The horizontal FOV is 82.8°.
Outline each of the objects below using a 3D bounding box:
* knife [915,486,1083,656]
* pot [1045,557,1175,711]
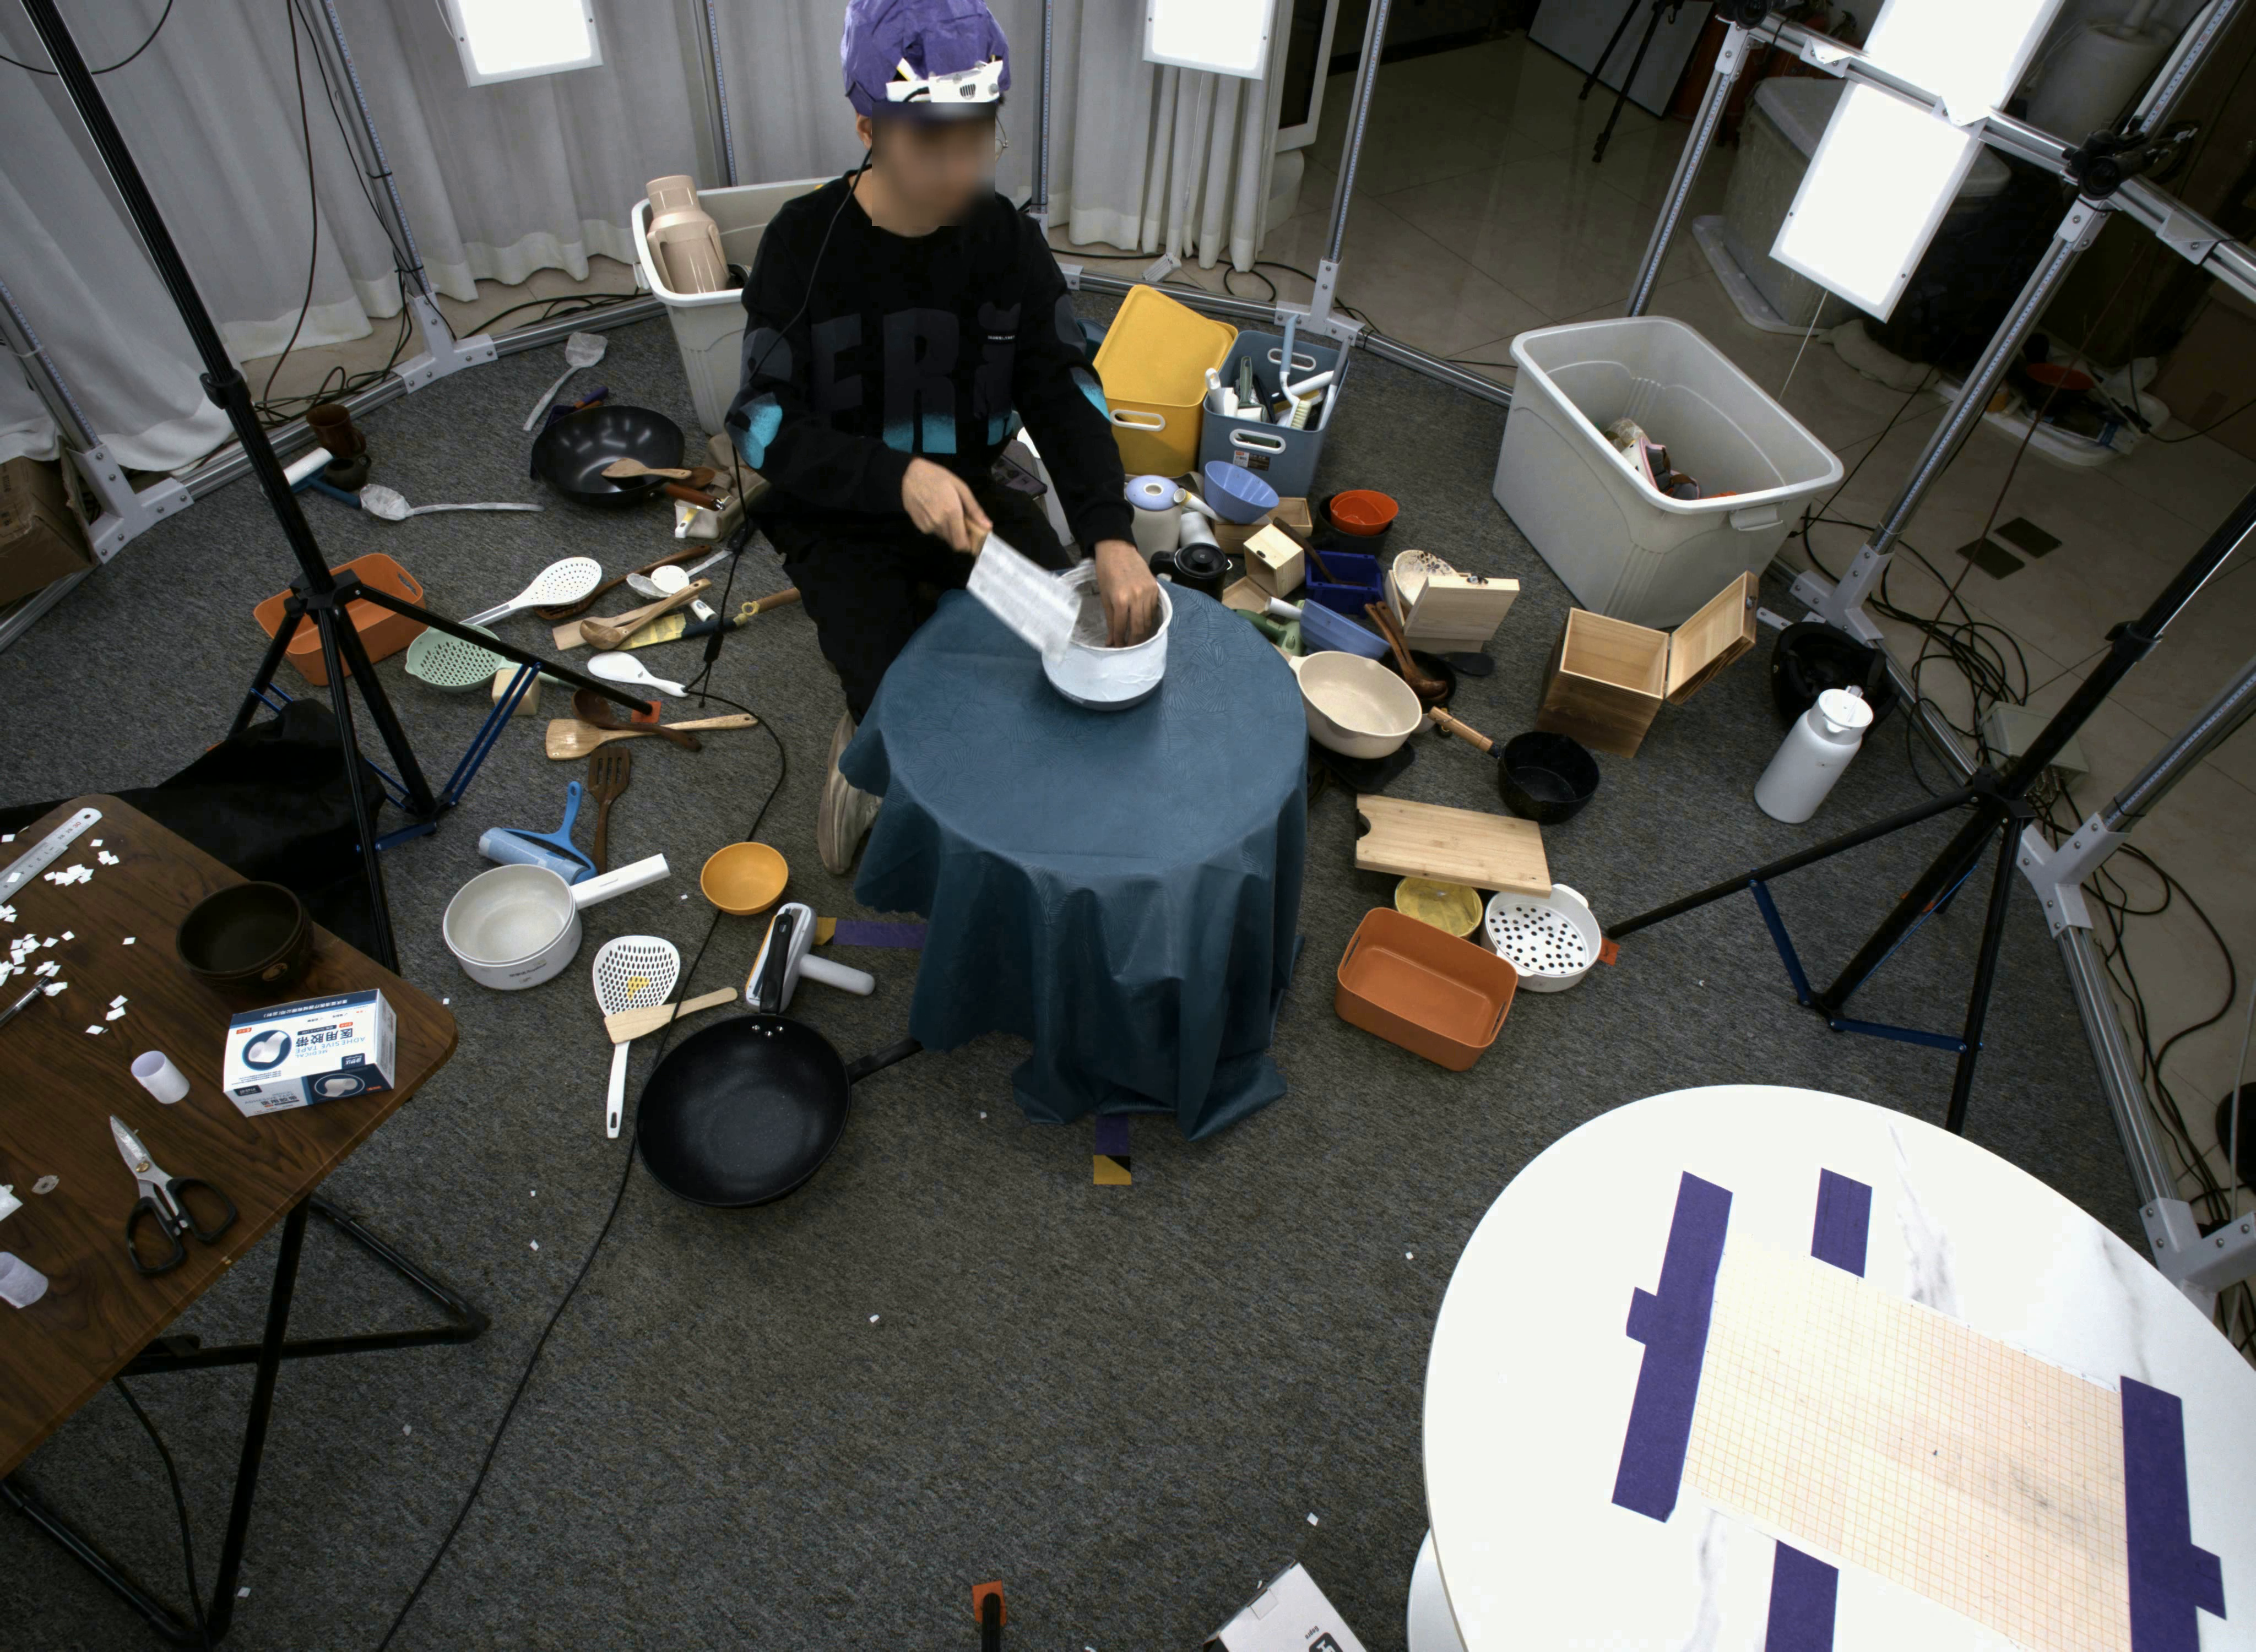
[{"bbox_3d":[-0.168,-0.344,1.667,0.320,0.112,0.022,43,38,22],"label":"knife"},{"bbox_3d":[-0.036,-0.281,1.822,0.178,0.133,0.239,-10,51,-13],"label":"pot"}]
